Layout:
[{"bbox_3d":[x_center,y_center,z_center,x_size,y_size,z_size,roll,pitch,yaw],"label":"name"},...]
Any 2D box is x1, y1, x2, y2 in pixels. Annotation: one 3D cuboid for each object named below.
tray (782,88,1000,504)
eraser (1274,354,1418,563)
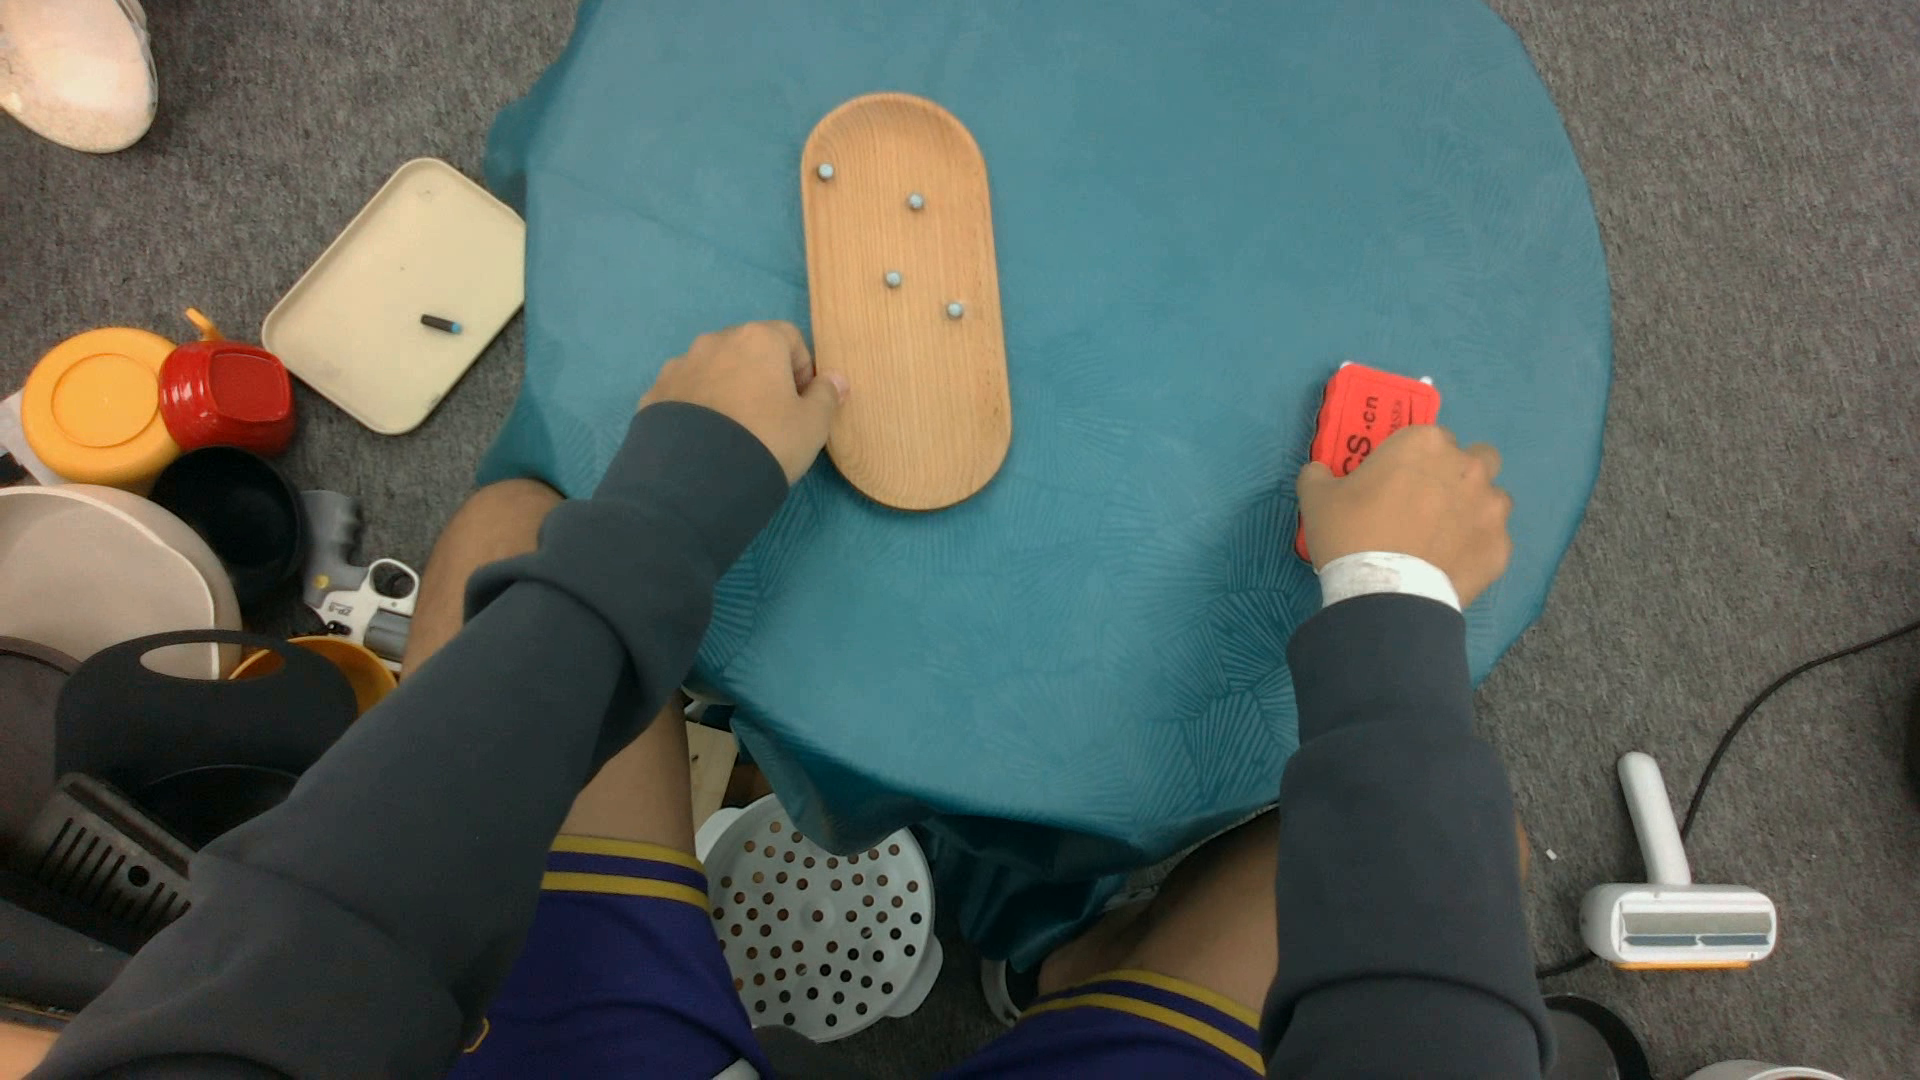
[{"bbox_3d":[-0.038,-0.131,0.726,0.102,0.020,0.231,-5,79,-10],"label":"tray"},{"bbox_3d":[0.207,-0.044,0.735,0.059,0.023,0.108,11,77,20],"label":"eraser"}]
